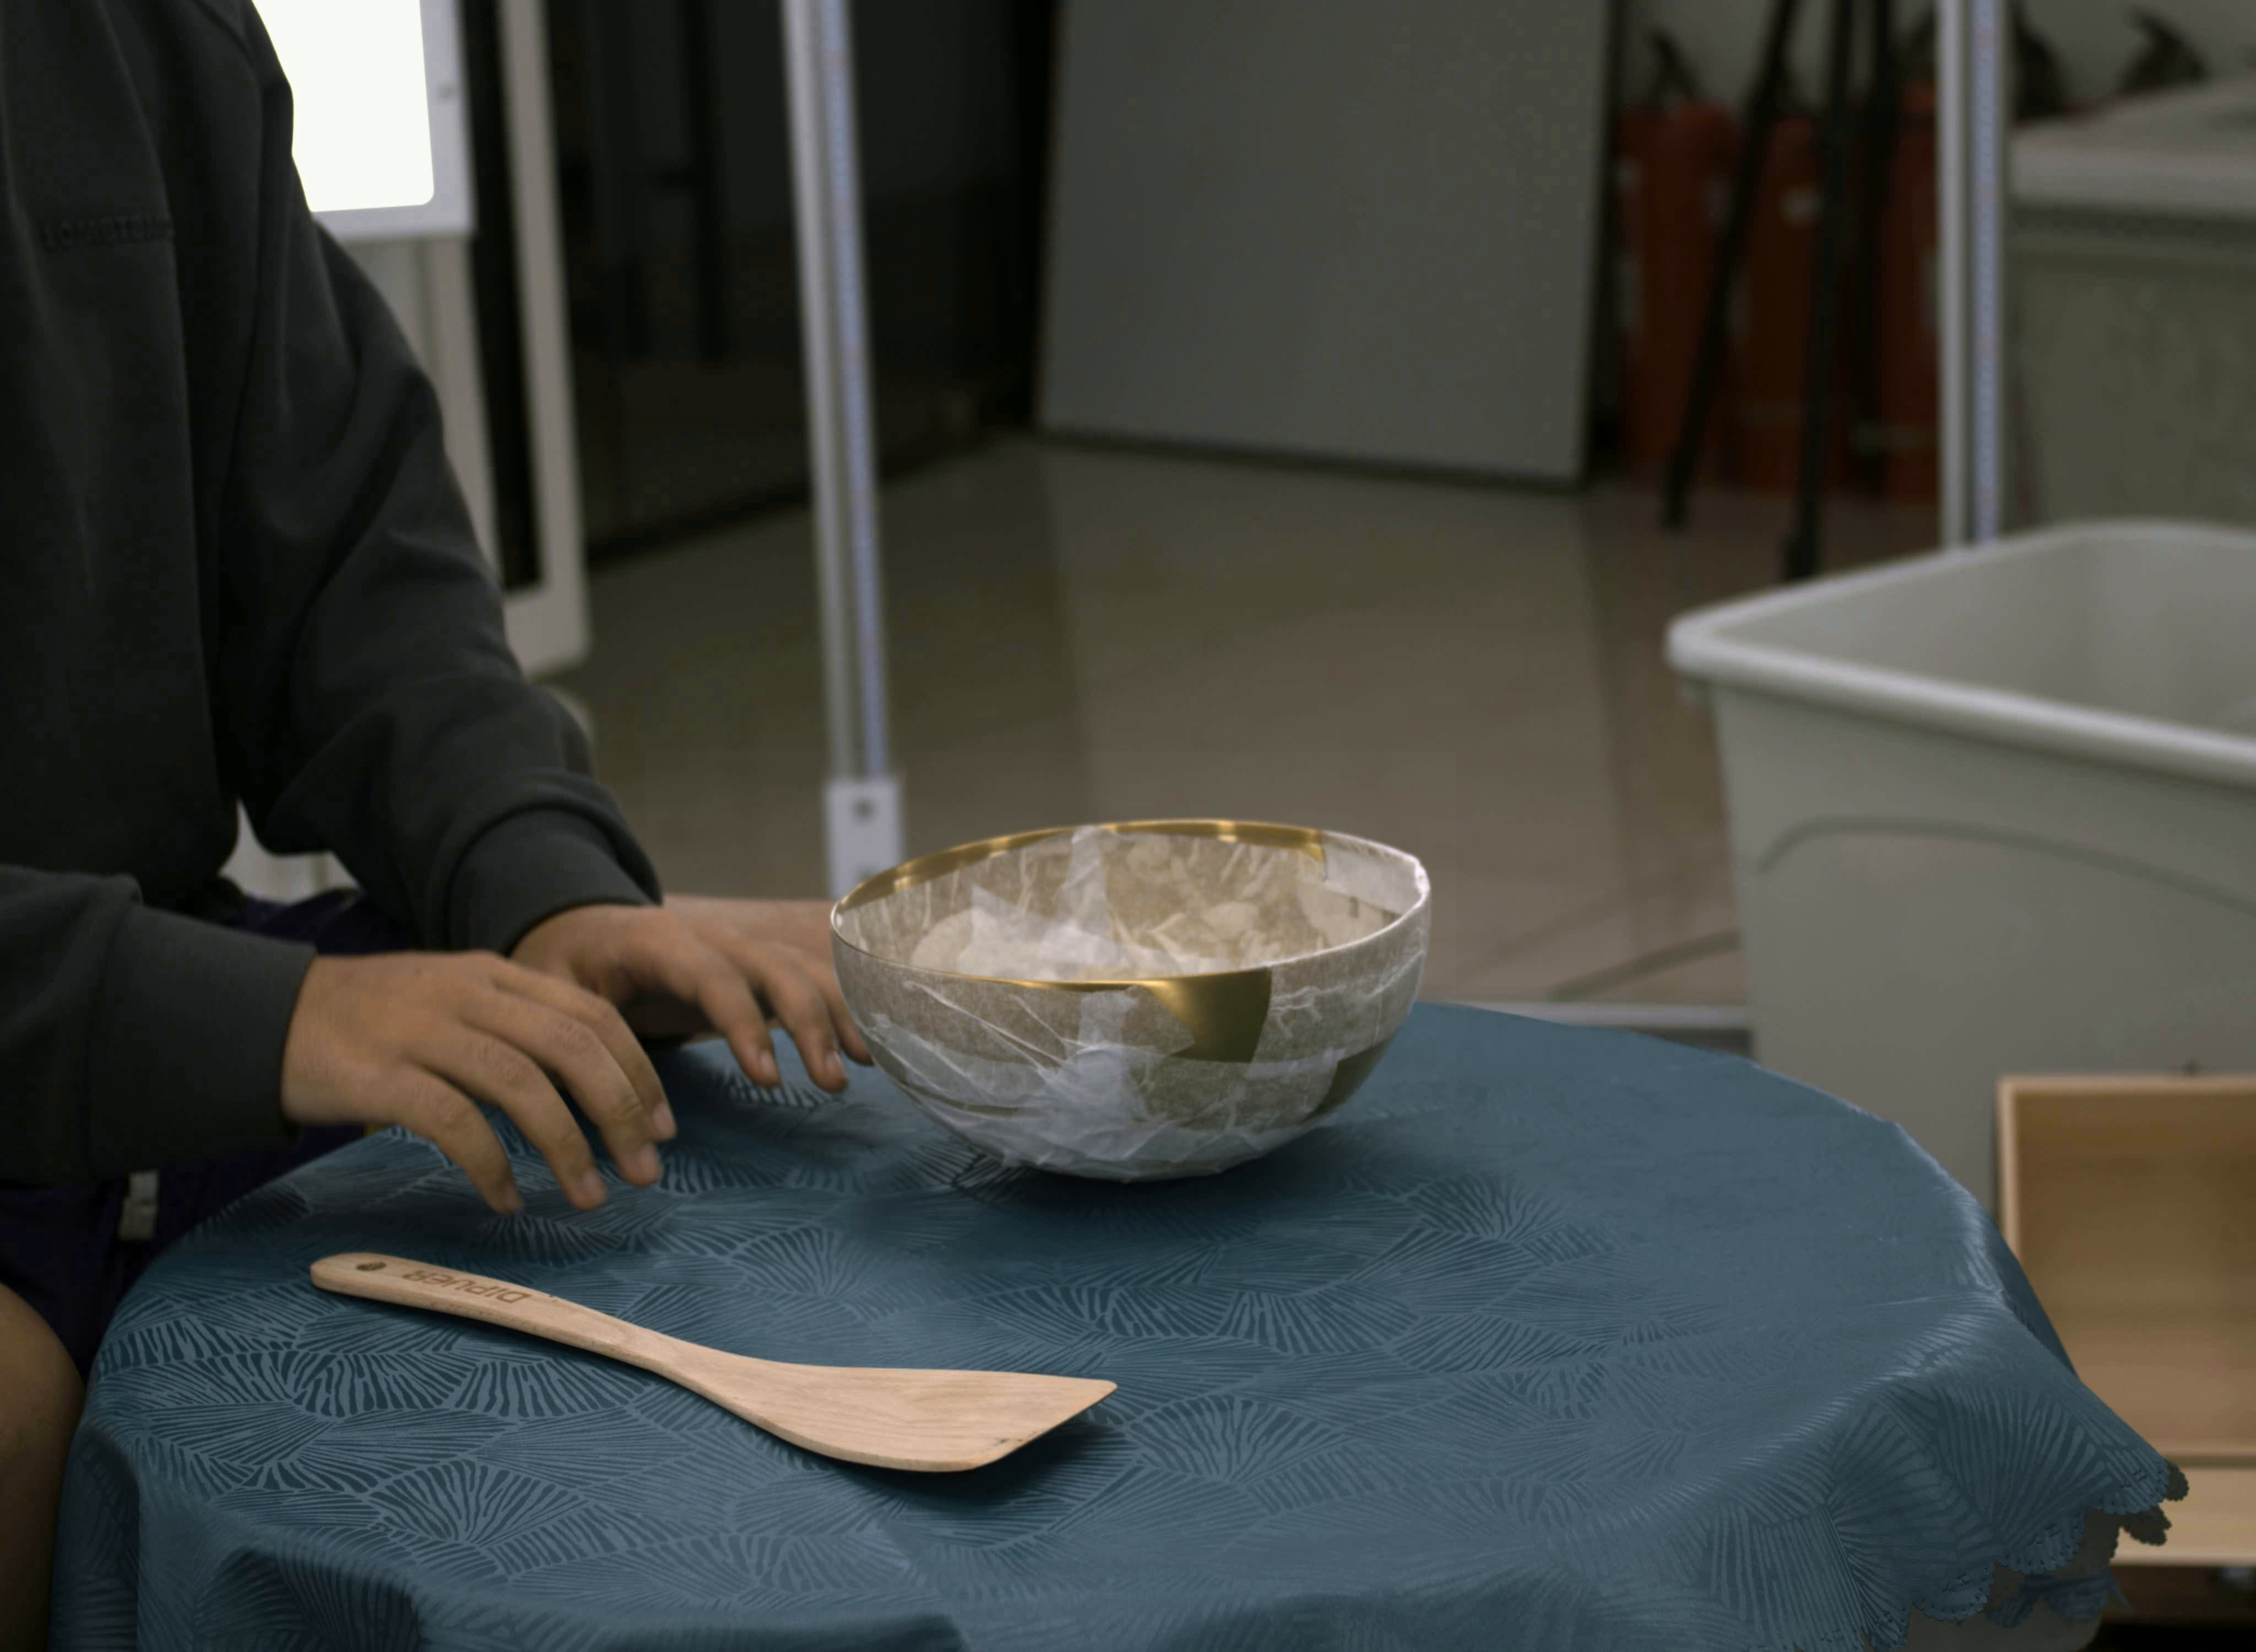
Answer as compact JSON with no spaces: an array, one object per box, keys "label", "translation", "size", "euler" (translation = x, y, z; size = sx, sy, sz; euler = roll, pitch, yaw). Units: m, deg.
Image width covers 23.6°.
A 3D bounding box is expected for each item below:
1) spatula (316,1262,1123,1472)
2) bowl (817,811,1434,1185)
[{"label":"spatula","translation":[-0.134,0.157,1.627],"size":[0.330,0.017,0.078],"euler":[8,19,42]},{"label":"bowl","translation":[0.000,0.064,1.799],"size":[0.212,0.095,0.215],"euler":[-3,15,0]}]
